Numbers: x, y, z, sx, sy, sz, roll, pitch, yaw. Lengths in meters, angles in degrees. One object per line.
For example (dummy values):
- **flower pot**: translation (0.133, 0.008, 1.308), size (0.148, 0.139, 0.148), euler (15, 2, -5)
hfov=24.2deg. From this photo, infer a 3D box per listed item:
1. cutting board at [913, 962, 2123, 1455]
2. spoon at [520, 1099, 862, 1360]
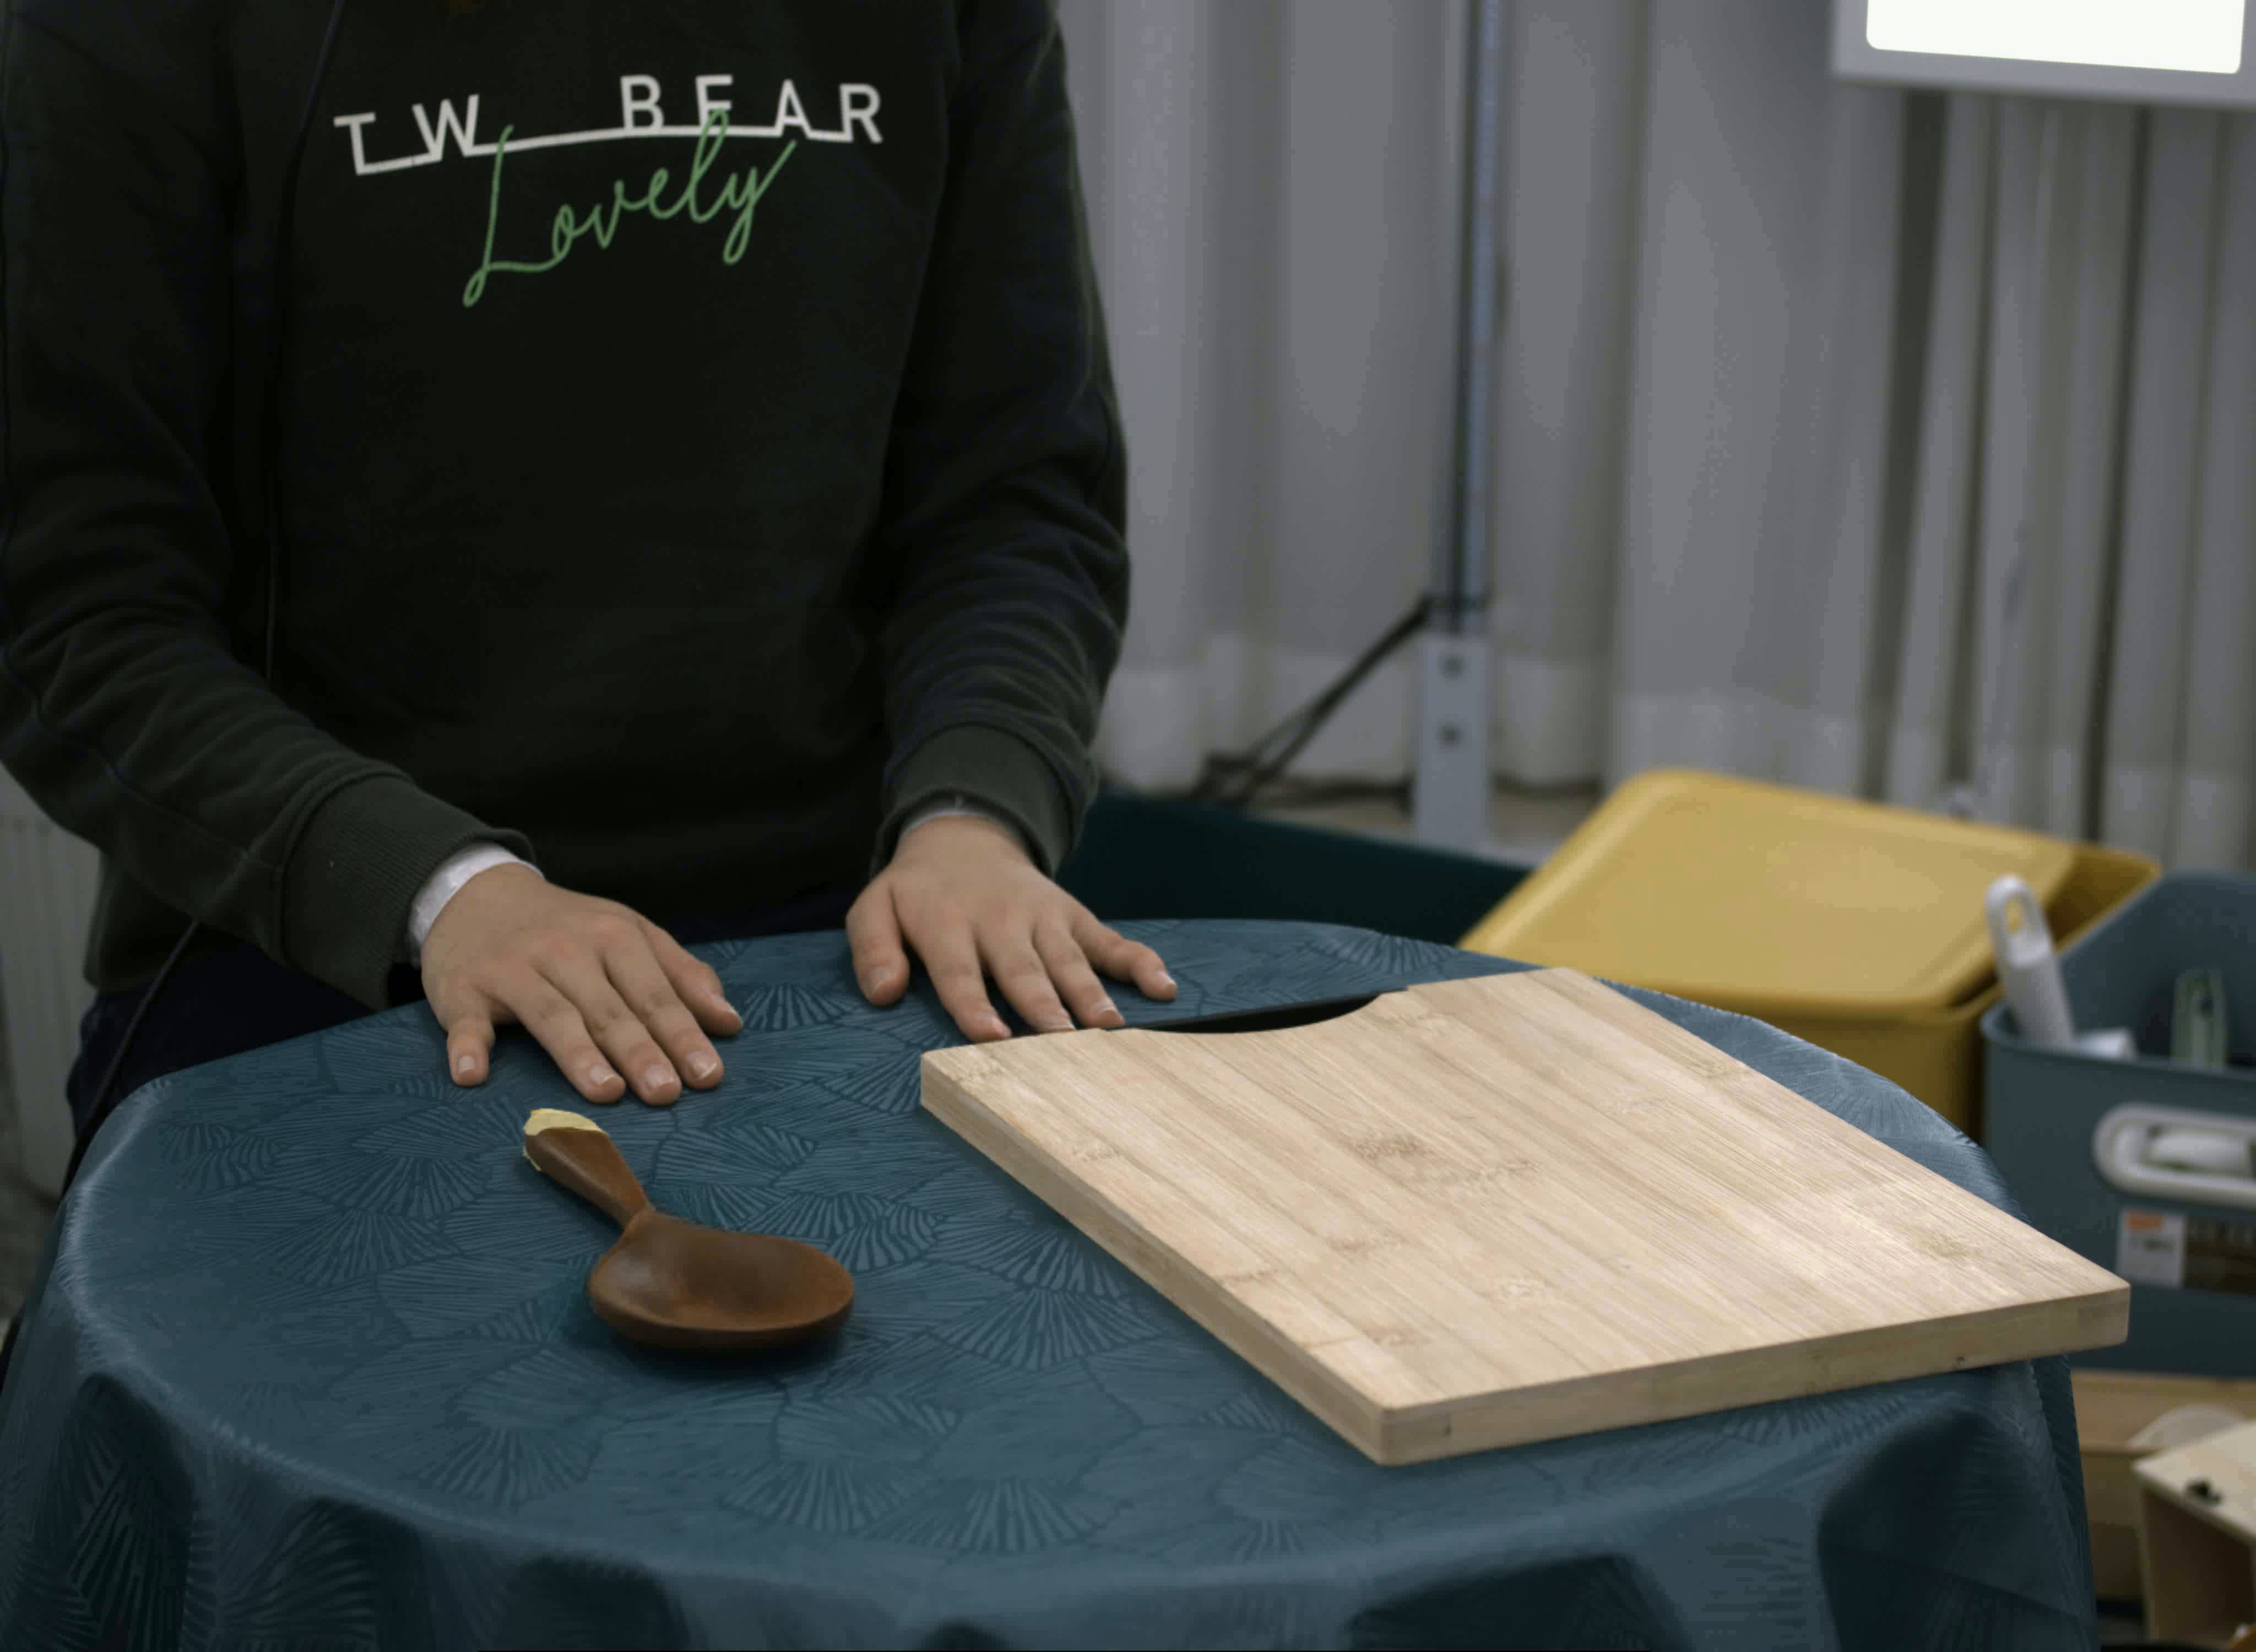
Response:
- **cutting board**: translation (0.107, 0.110, 1.612), size (0.251, 0.024, 0.344), euler (-6, 17, -24)
- **spoon**: translation (-0.139, 0.120, 1.561), size (0.076, 0.017, 0.213), euler (-7, 18, -22)
